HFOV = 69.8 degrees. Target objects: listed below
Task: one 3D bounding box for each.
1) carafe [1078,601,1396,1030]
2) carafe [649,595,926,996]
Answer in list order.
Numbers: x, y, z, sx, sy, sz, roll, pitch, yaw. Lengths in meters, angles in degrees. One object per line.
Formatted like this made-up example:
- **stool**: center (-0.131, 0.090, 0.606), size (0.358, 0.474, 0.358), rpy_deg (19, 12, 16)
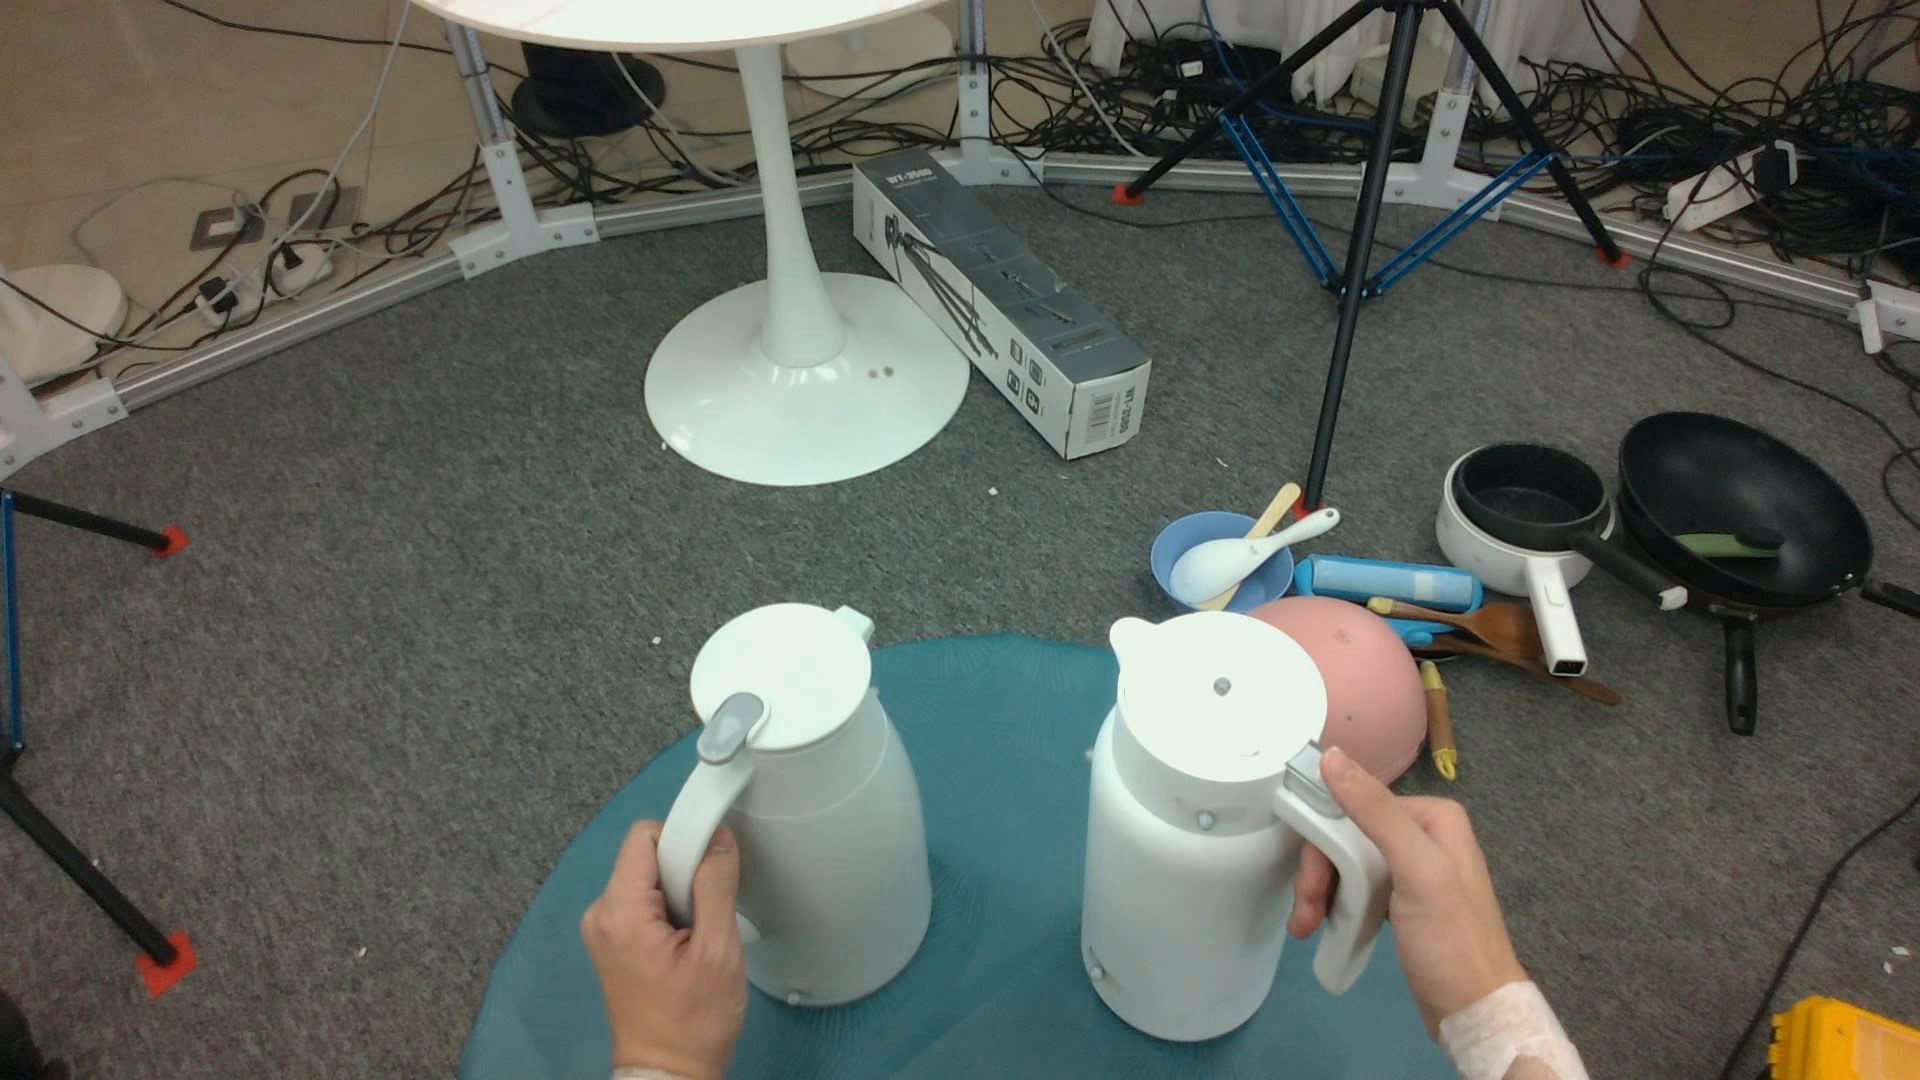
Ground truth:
- **carafe**: center (0.138, 0.164, 0.737), size (0.124, 0.267, 0.173), rpy_deg (-33, 54, -28)
- **carafe**: center (-0.101, 0.154, 0.767), size (0.132, 0.247, 0.168), rpy_deg (25, 53, 23)
